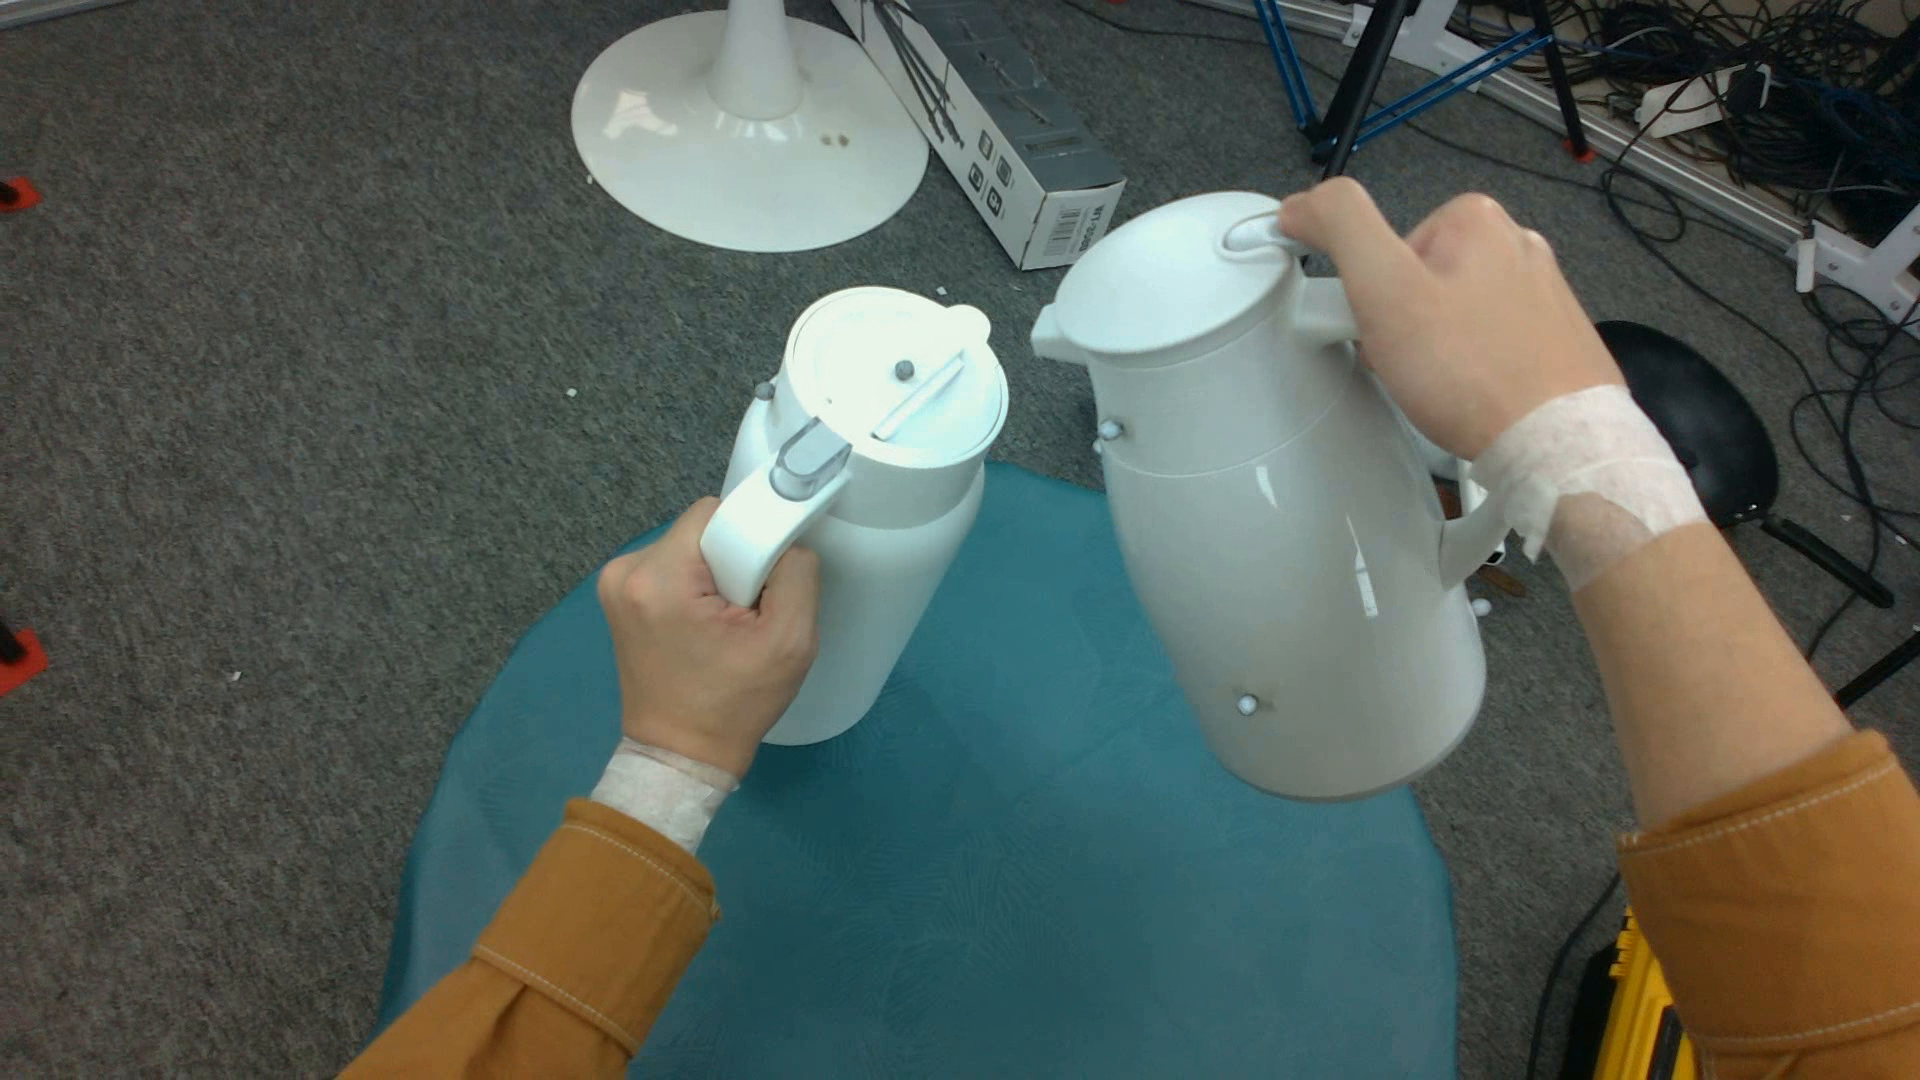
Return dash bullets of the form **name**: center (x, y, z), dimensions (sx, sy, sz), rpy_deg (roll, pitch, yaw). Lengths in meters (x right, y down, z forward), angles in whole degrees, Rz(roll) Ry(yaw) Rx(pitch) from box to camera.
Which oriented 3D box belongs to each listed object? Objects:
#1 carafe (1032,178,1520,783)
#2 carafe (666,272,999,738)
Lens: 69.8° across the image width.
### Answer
- **carafe**: center (0.140, -0.026, 0.558), dimensions (0.167, 0.248, 0.133), rpy_deg (-3, 46, 29)
- **carafe**: center (-0.076, 0.004, 0.676), dimensions (0.124, 0.267, 0.173), rpy_deg (38, 53, 5)
